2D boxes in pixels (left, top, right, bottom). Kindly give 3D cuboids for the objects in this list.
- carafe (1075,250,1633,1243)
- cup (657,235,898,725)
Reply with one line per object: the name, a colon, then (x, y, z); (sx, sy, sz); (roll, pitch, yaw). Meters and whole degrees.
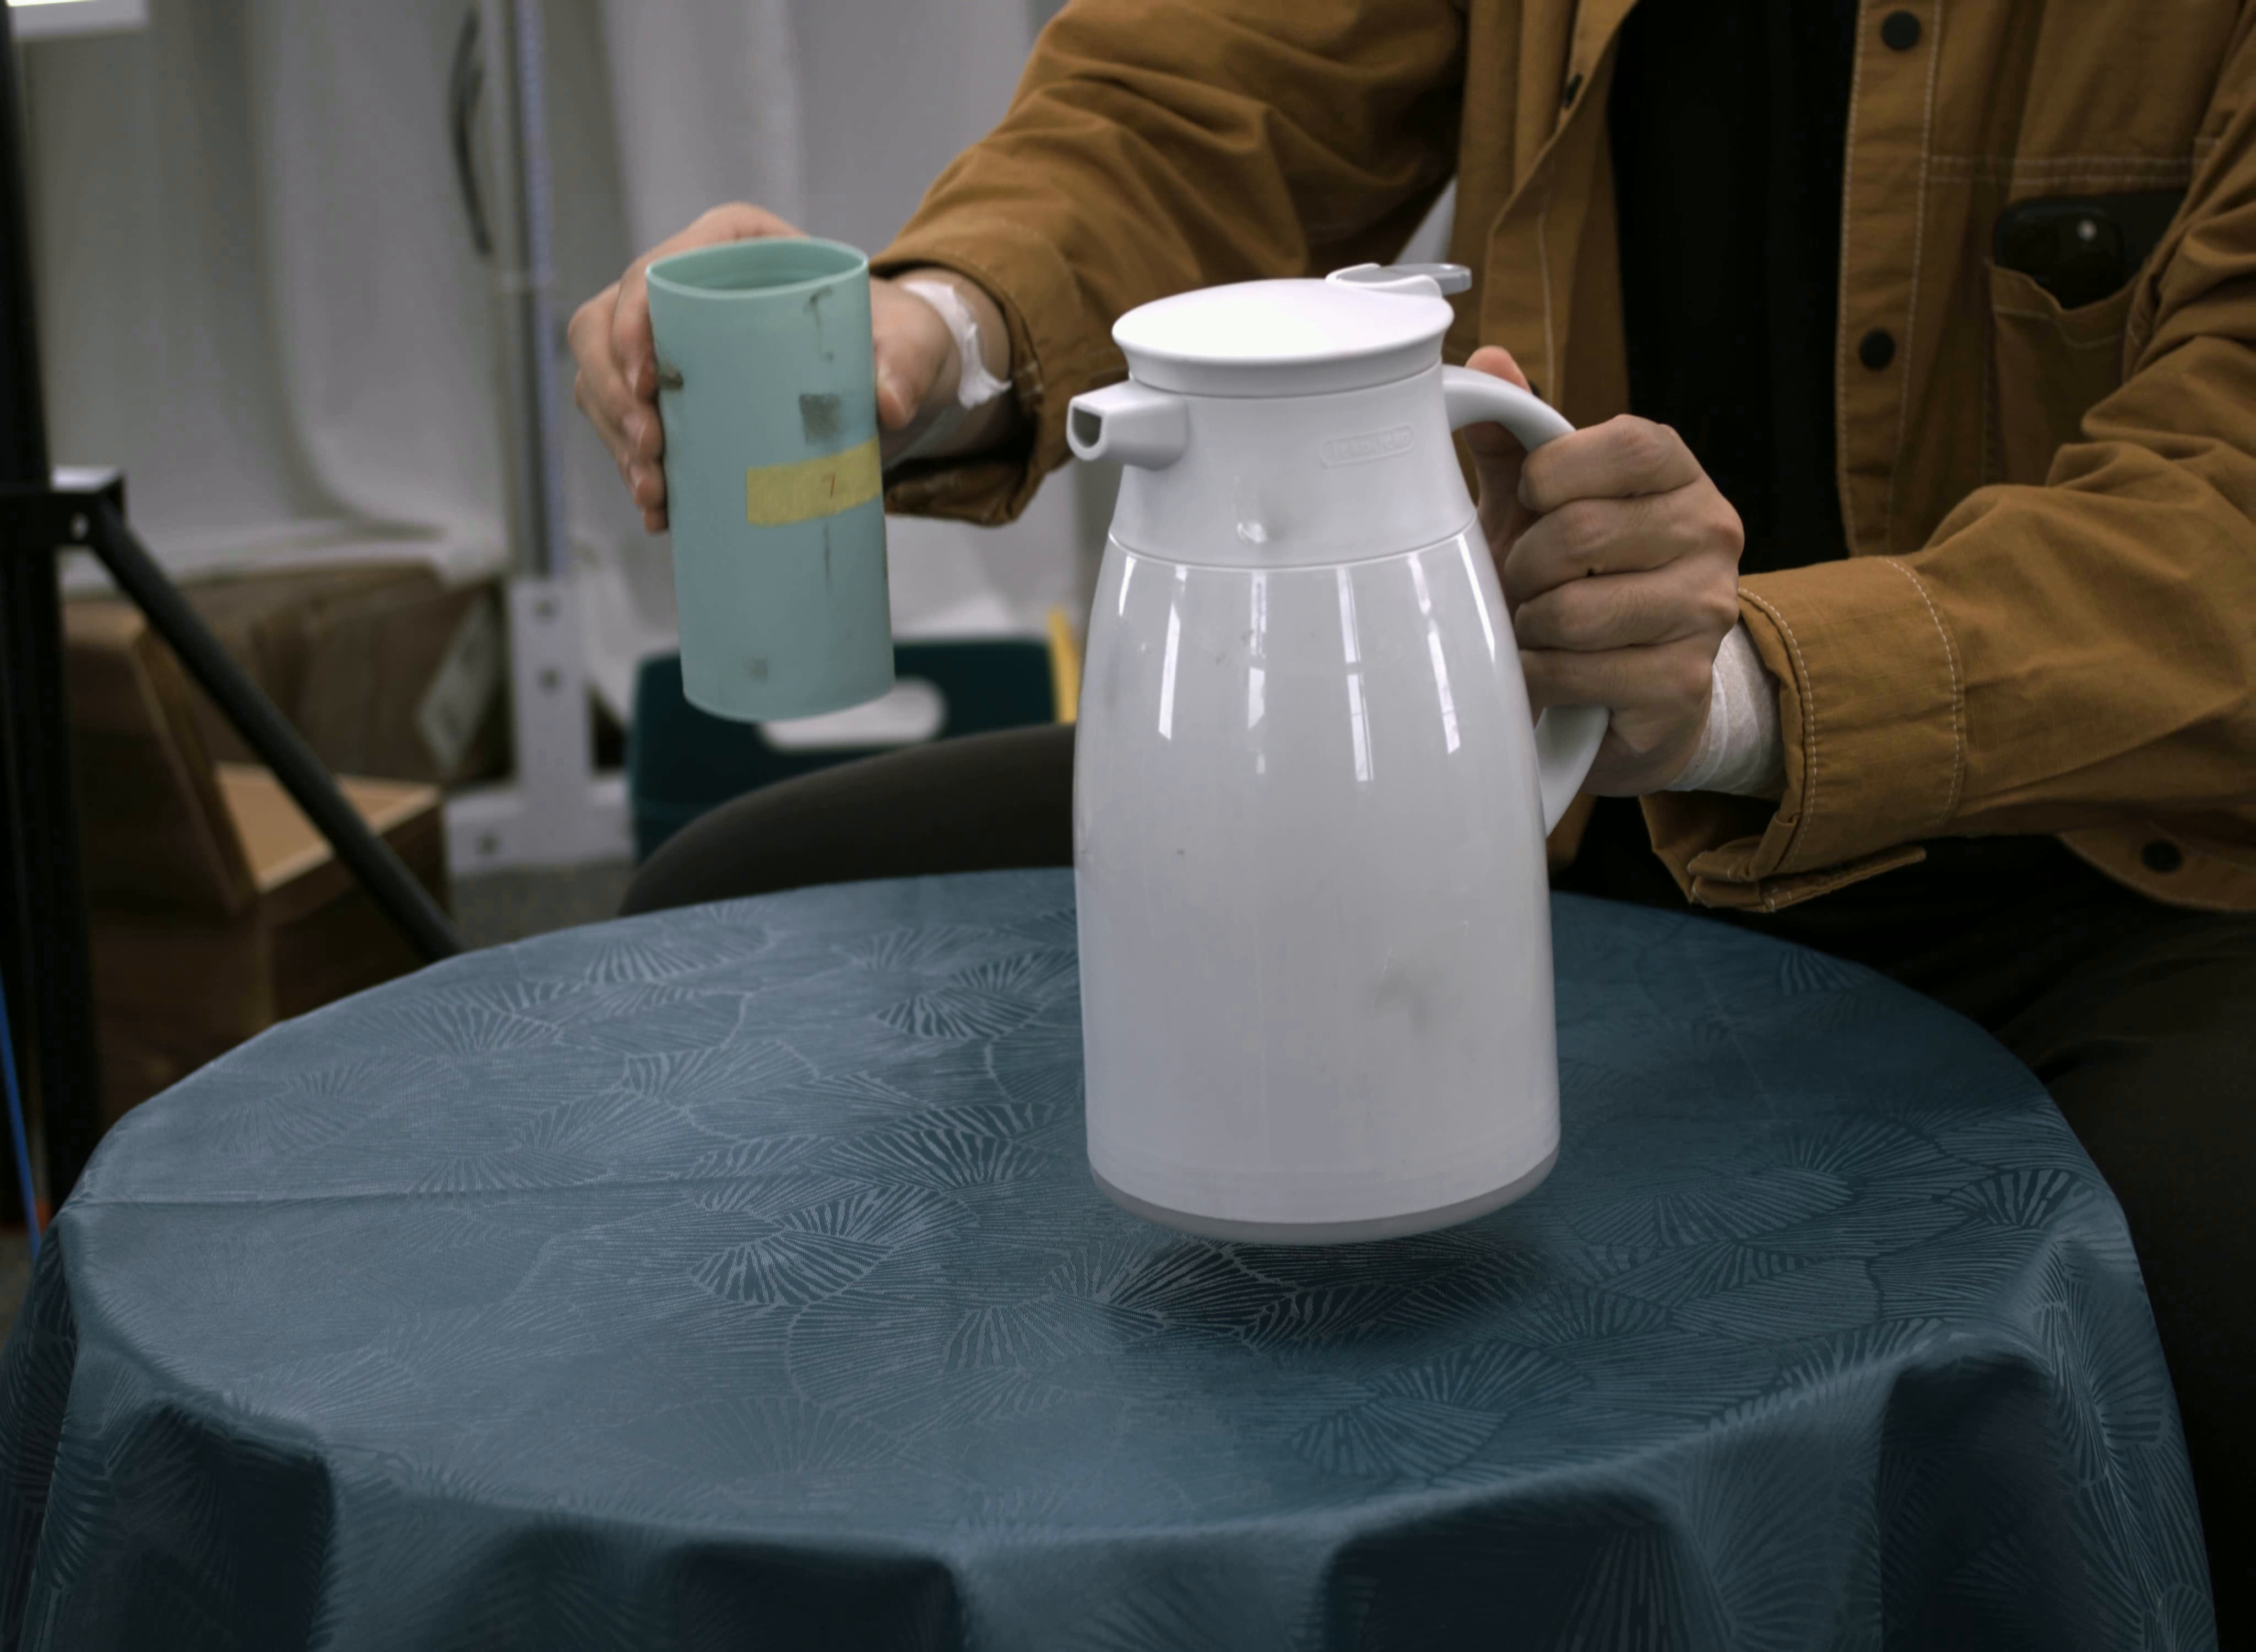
carafe: (0.064, -0.029, 1.449); (0.164, 0.248, 0.135); (-12, 18, -28)
cup: (-0.103, -0.103, 1.576); (0.066, 0.132, 0.067); (-3, 19, 0)
